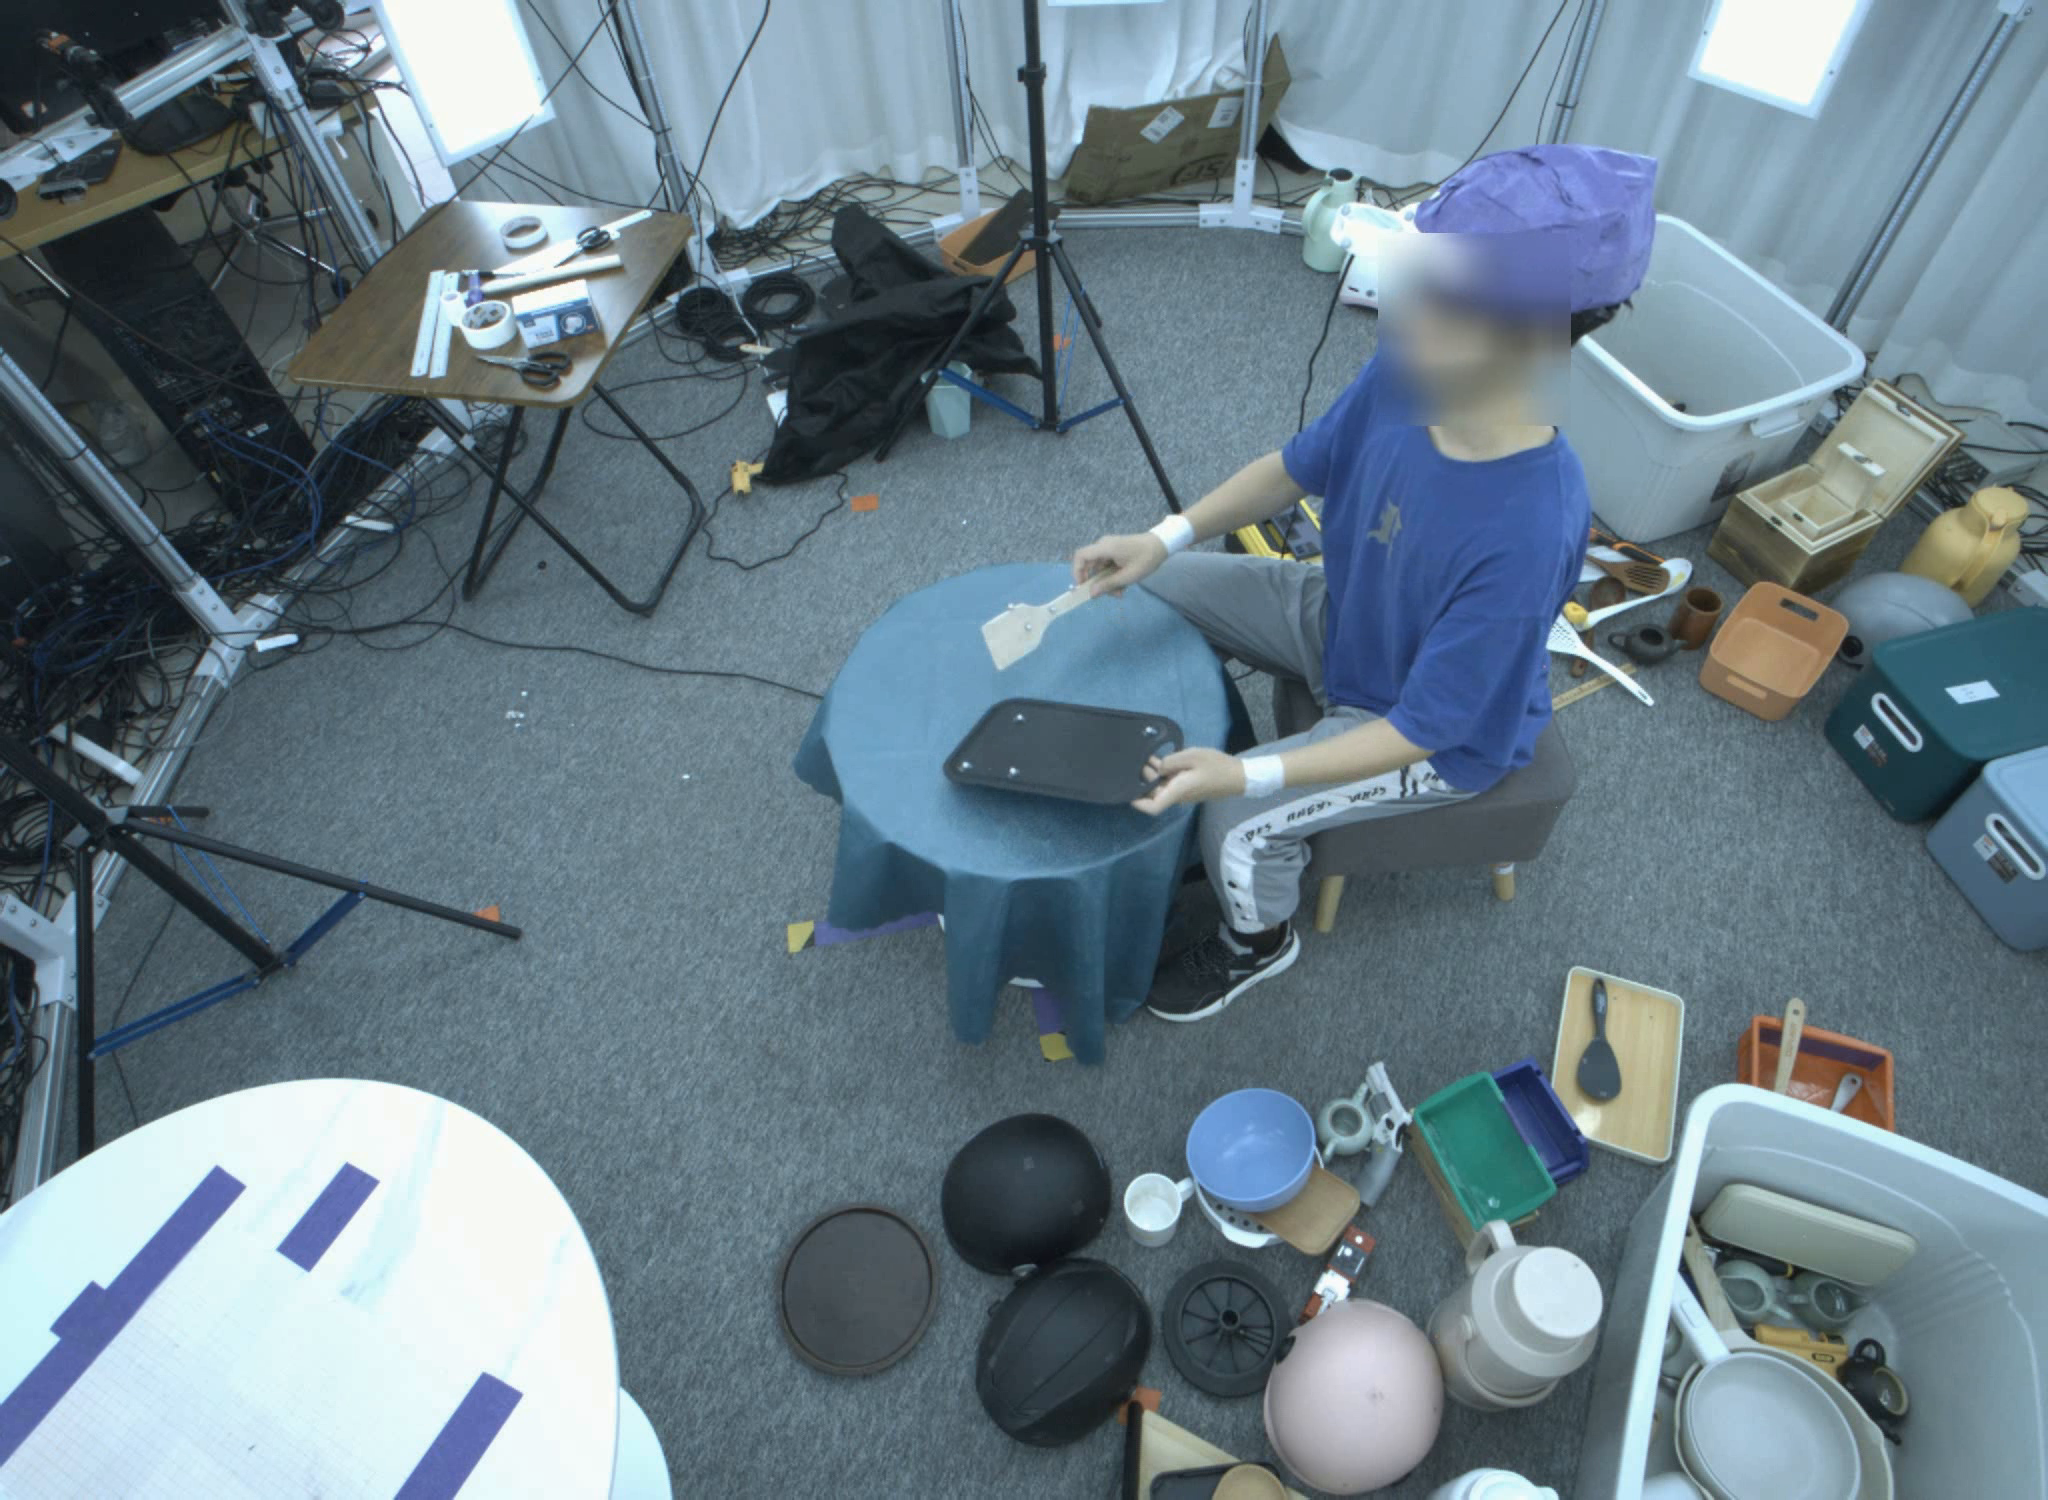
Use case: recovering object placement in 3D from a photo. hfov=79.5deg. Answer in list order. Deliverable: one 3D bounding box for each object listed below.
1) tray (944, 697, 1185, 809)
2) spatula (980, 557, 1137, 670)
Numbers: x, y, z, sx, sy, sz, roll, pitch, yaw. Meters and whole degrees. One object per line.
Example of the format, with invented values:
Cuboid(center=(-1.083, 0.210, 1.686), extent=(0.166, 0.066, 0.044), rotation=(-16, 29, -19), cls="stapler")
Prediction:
Cuboid(center=(0.061, -0.001, 1.703), extent=(0.319, 0.010, 0.212), rotation=(10, 41, 27), cls="tray")
Cuboid(center=(0.057, -0.213, 1.792), extent=(0.296, 0.073, 0.010), rotation=(-33, 21, -28), cls="spatula")
